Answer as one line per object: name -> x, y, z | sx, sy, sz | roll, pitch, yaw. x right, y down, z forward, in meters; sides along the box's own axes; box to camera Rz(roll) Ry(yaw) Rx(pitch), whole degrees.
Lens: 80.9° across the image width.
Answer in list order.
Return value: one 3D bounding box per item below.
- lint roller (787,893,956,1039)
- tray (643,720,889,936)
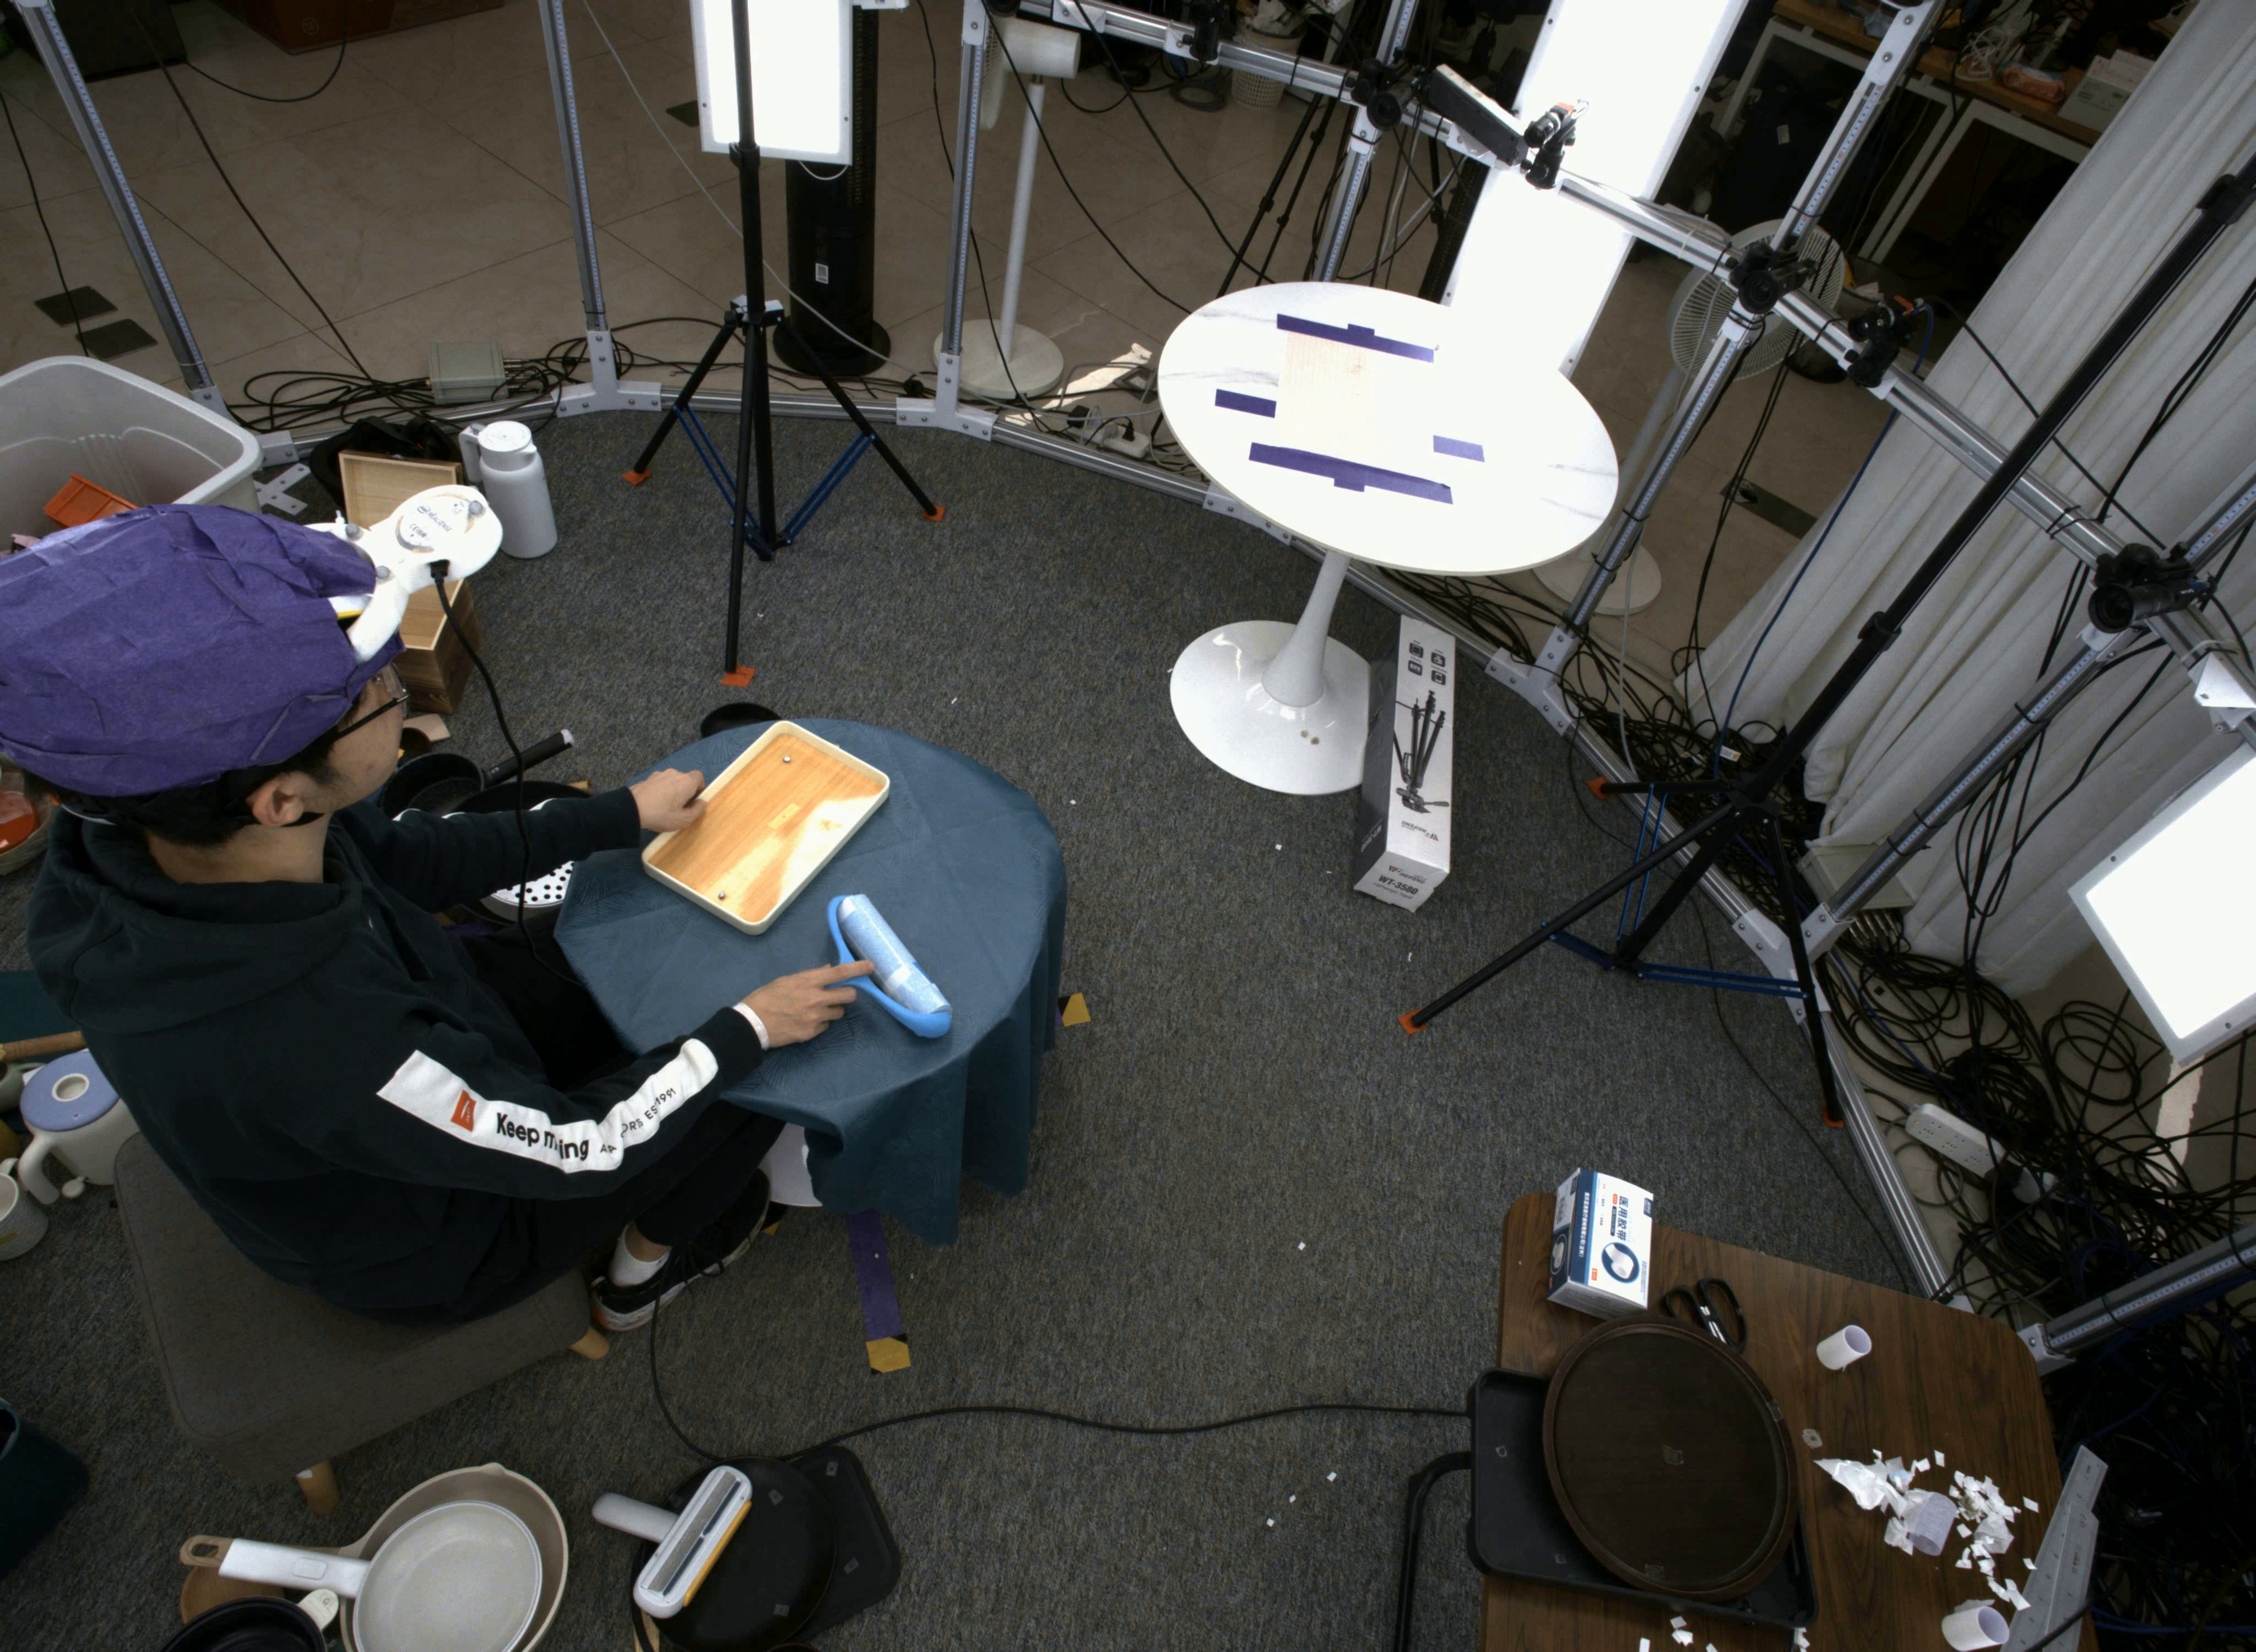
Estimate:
lint roller -> -0.333, 0.192, 1.576 | 0.181, 0.069, 0.224 | -34, 71, -34
tray -> -0.472, -0.006, 1.704 | 0.188, 0.028, 0.299 | 30, 52, 8
